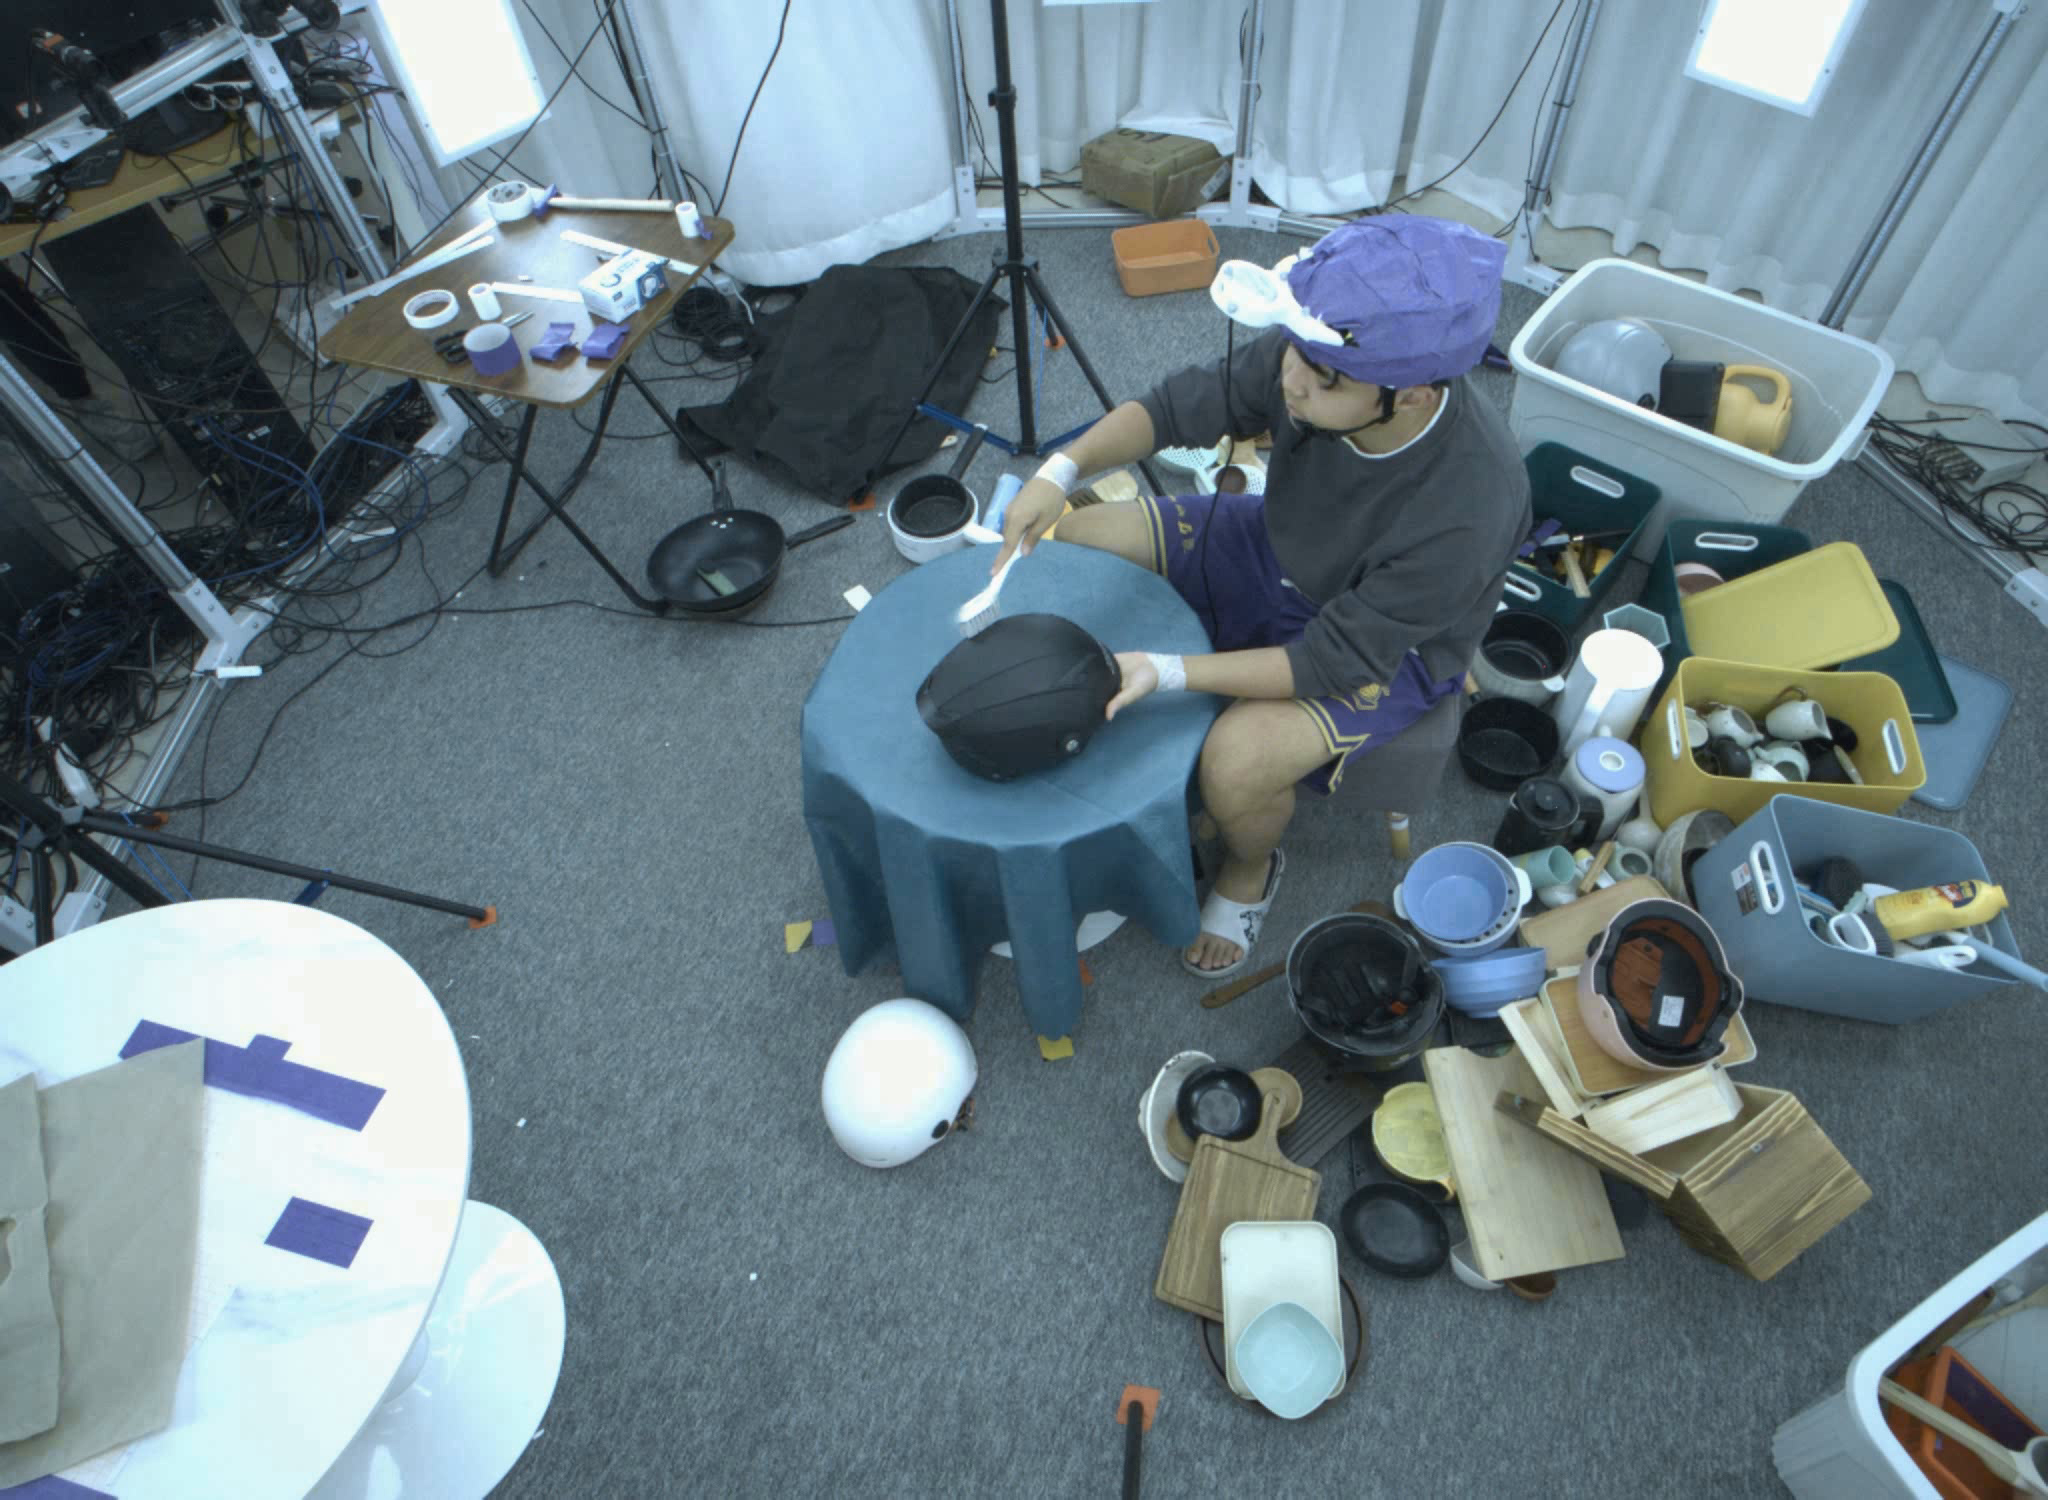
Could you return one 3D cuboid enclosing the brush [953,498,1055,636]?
[{"bbox_3d":[-0.018,-0.259,1.748,0.033,0.051,0.244,11,60,54],"label":"brush"}]

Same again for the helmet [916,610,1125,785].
[{"bbox_3d":[-0.010,-0.091,1.737,0.276,0.176,0.242,-27,57,5],"label":"helmet"}]
